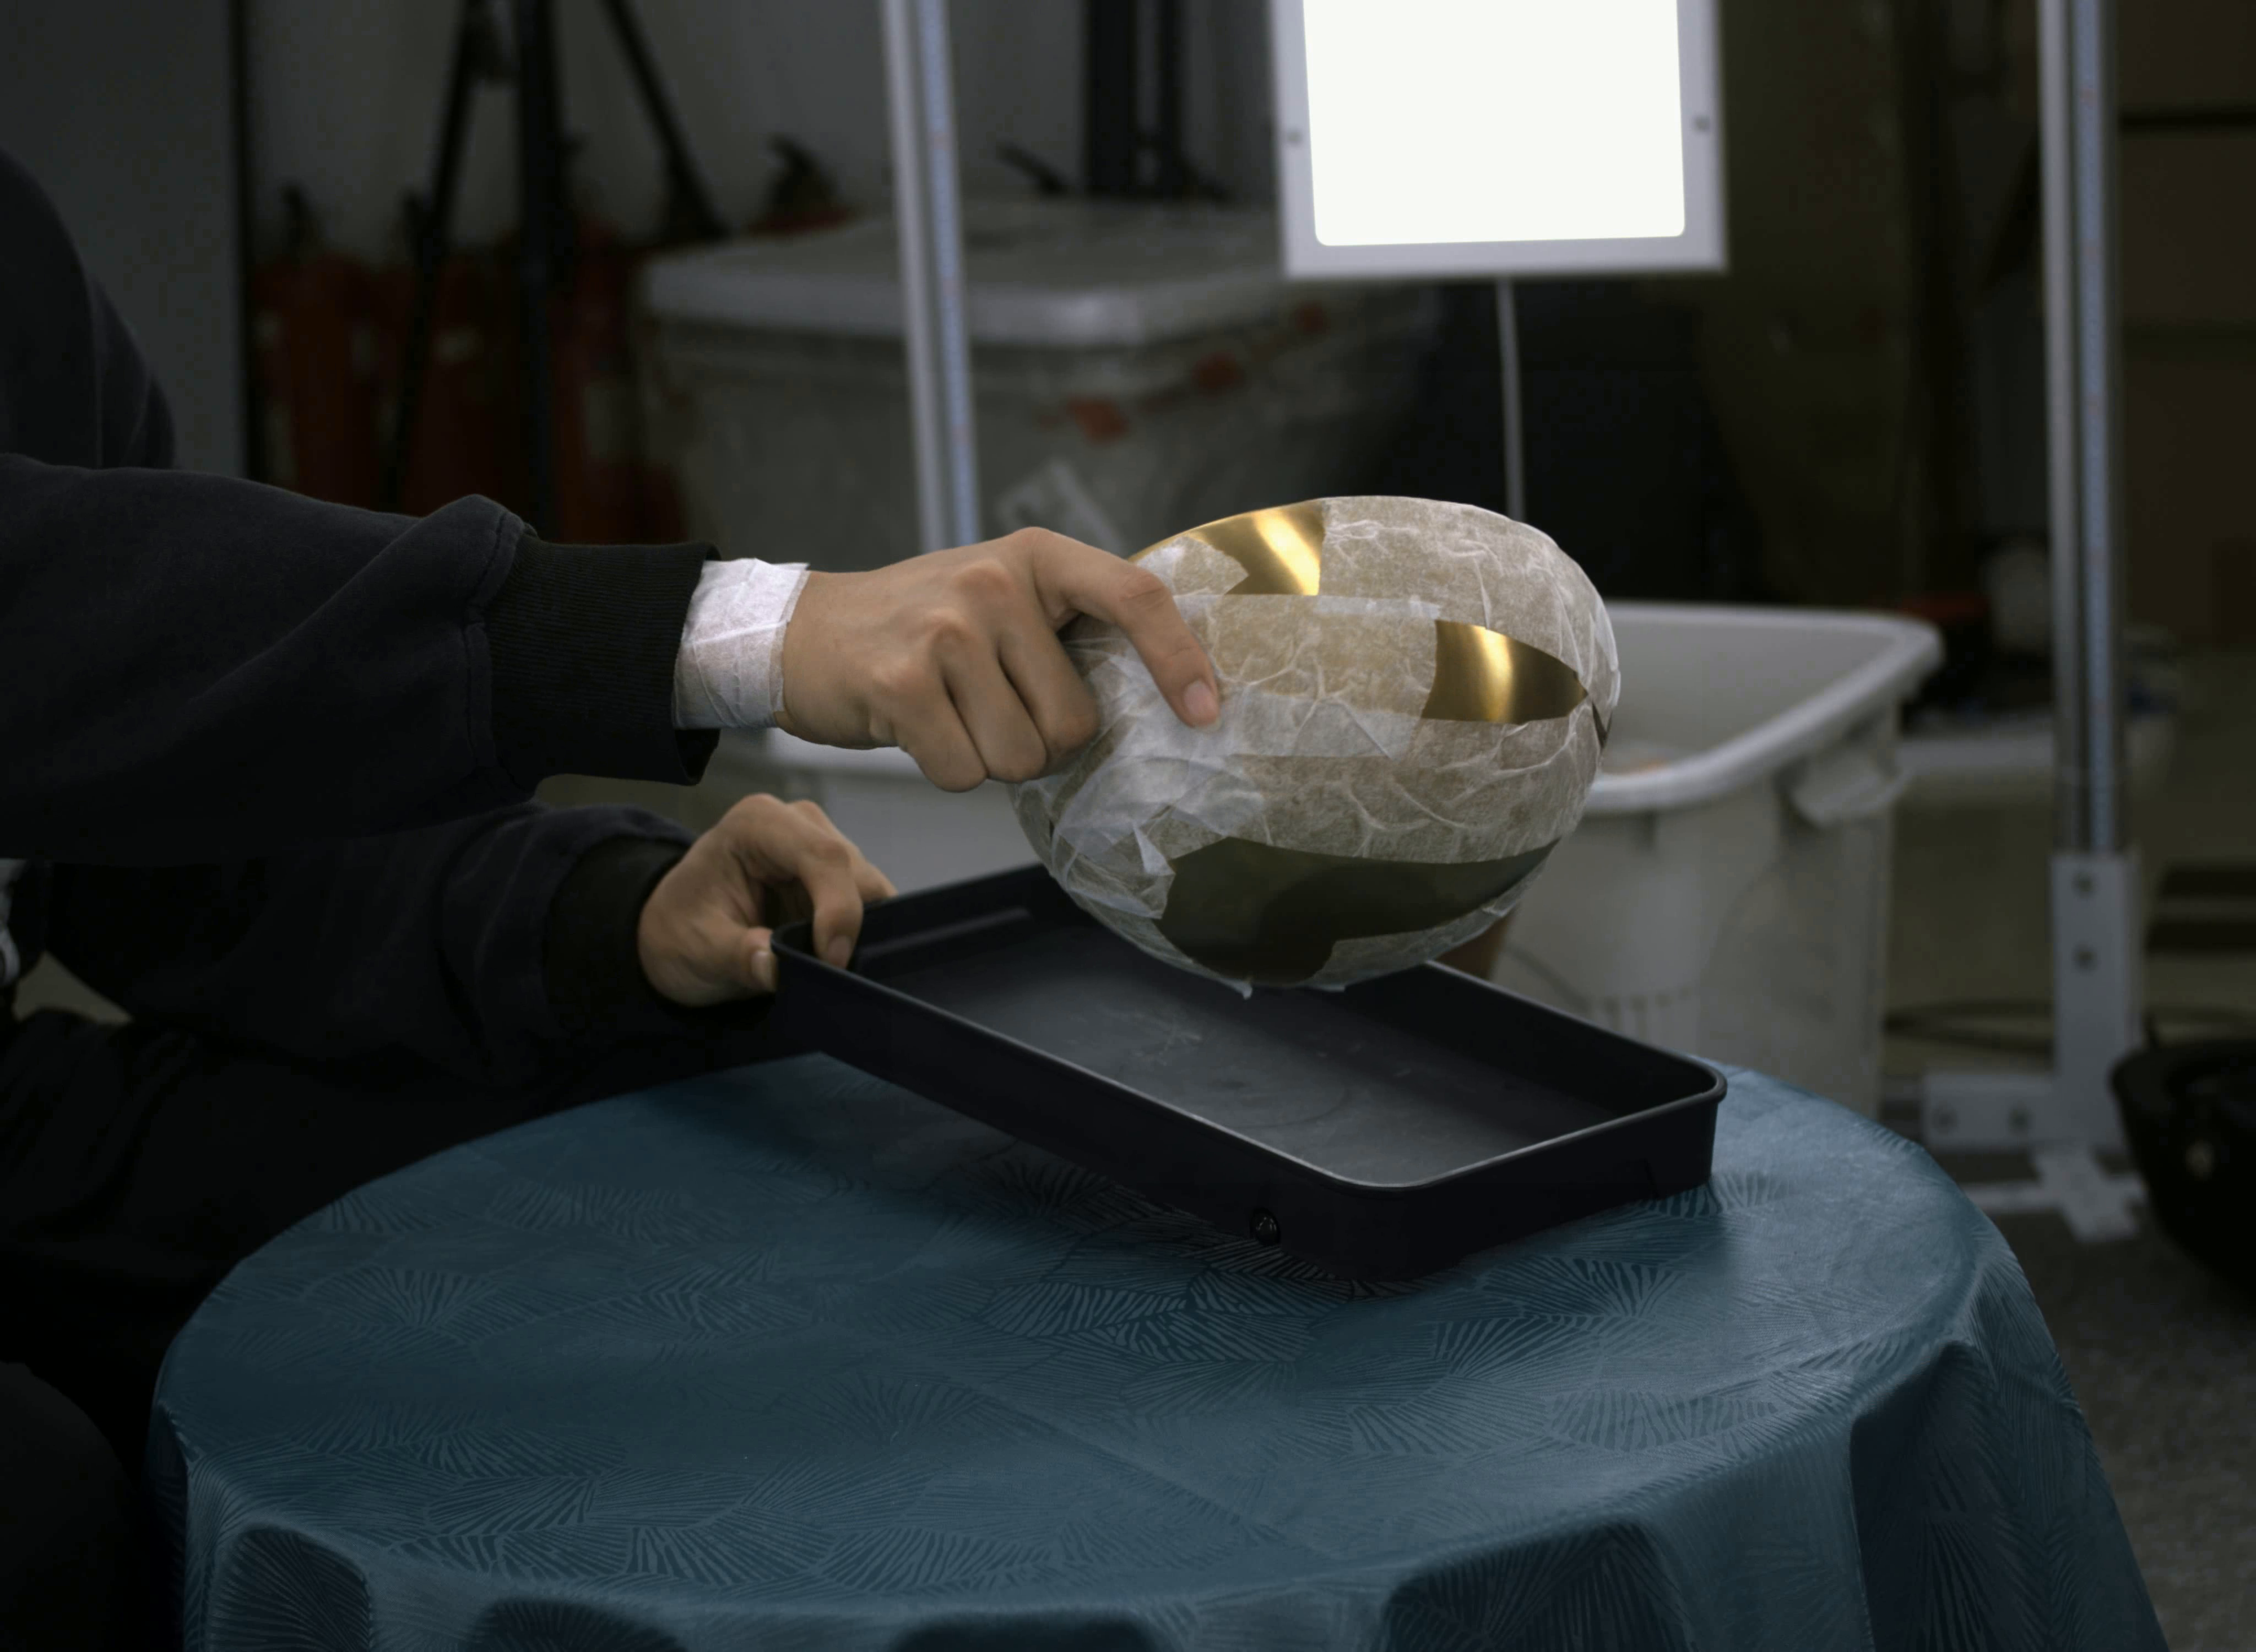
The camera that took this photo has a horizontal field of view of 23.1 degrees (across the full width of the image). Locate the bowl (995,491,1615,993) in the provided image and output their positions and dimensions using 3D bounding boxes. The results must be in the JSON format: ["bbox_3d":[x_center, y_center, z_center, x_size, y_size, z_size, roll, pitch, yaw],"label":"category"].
[{"bbox_3d":[0.061,-0.007,1.747,0.213,0.216,0.095,-5,56,-7],"label":"bowl"}]

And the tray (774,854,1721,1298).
[{"bbox_3d":[0.036,0.080,1.911,0.179,0.037,0.324,-12,24,-39],"label":"tray"}]
